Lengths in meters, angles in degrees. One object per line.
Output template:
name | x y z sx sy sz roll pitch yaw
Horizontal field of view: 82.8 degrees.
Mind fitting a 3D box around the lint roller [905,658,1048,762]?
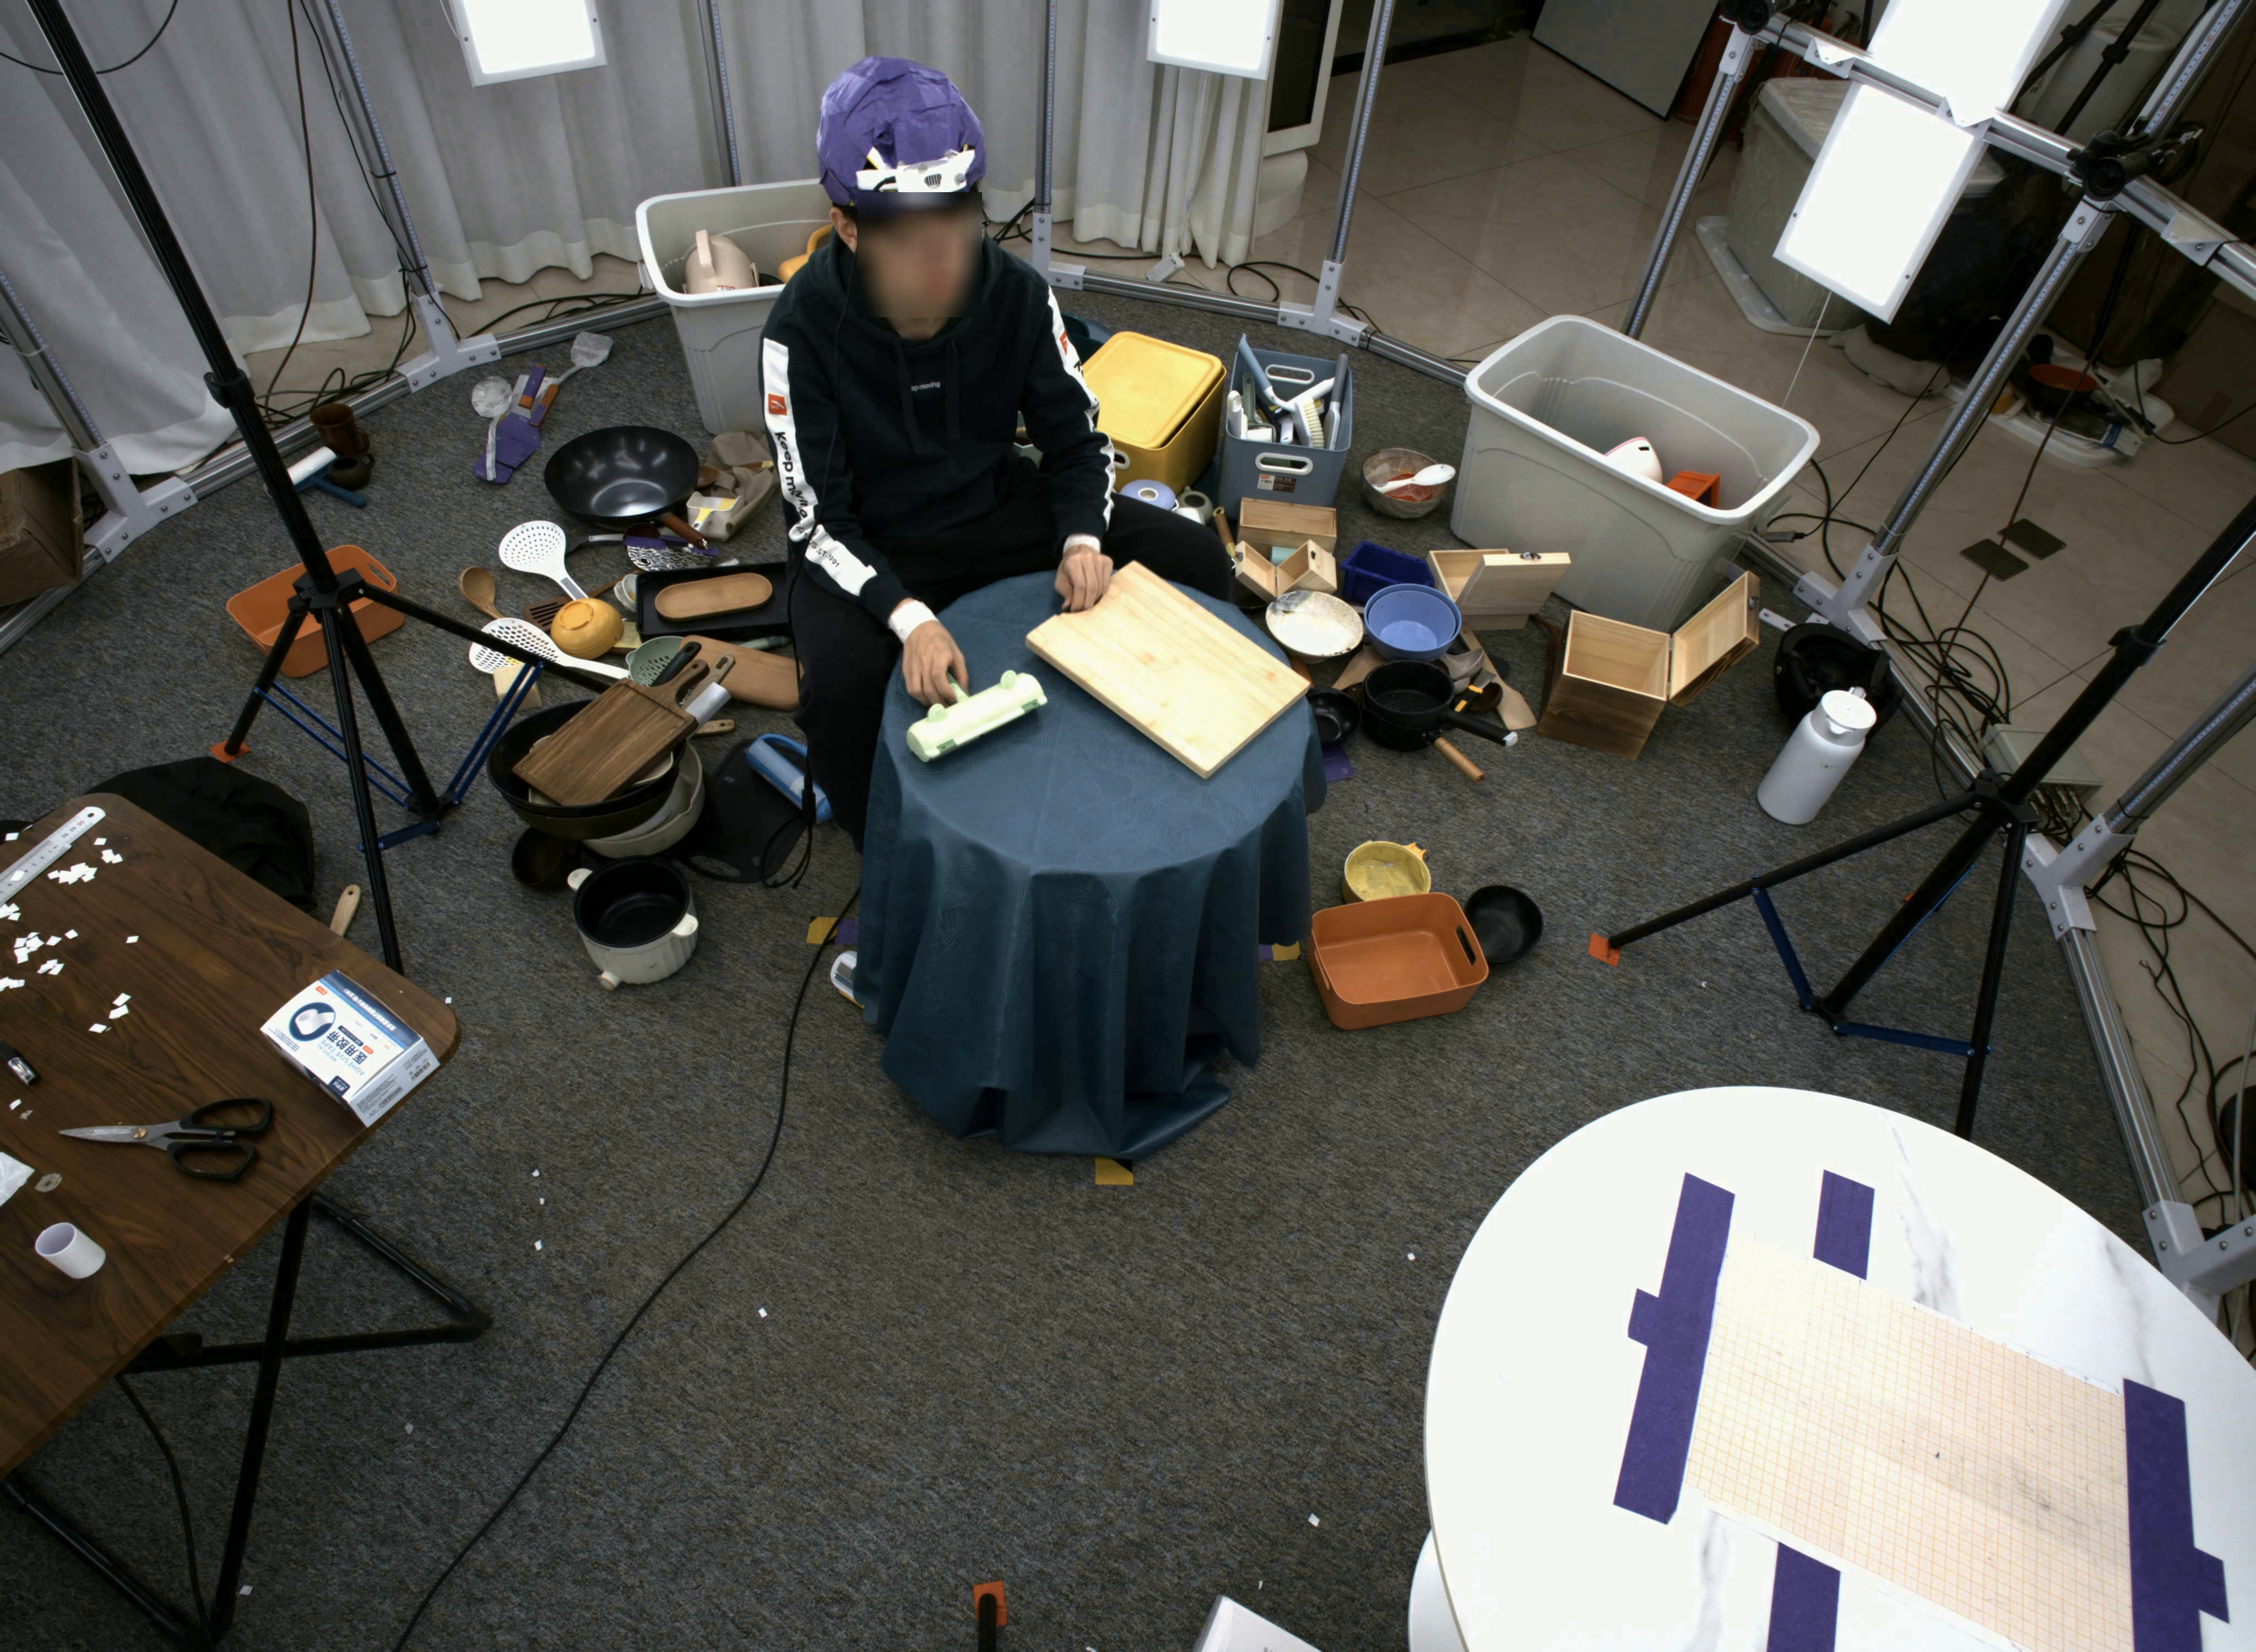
lint roller | -0.238 -0.191 1.768 0.200 0.080 0.186 -28 61 -25

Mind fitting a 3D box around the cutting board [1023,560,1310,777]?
cutting board | 0.054 -0.235 1.850 0.353 0.023 0.253 37 56 20
